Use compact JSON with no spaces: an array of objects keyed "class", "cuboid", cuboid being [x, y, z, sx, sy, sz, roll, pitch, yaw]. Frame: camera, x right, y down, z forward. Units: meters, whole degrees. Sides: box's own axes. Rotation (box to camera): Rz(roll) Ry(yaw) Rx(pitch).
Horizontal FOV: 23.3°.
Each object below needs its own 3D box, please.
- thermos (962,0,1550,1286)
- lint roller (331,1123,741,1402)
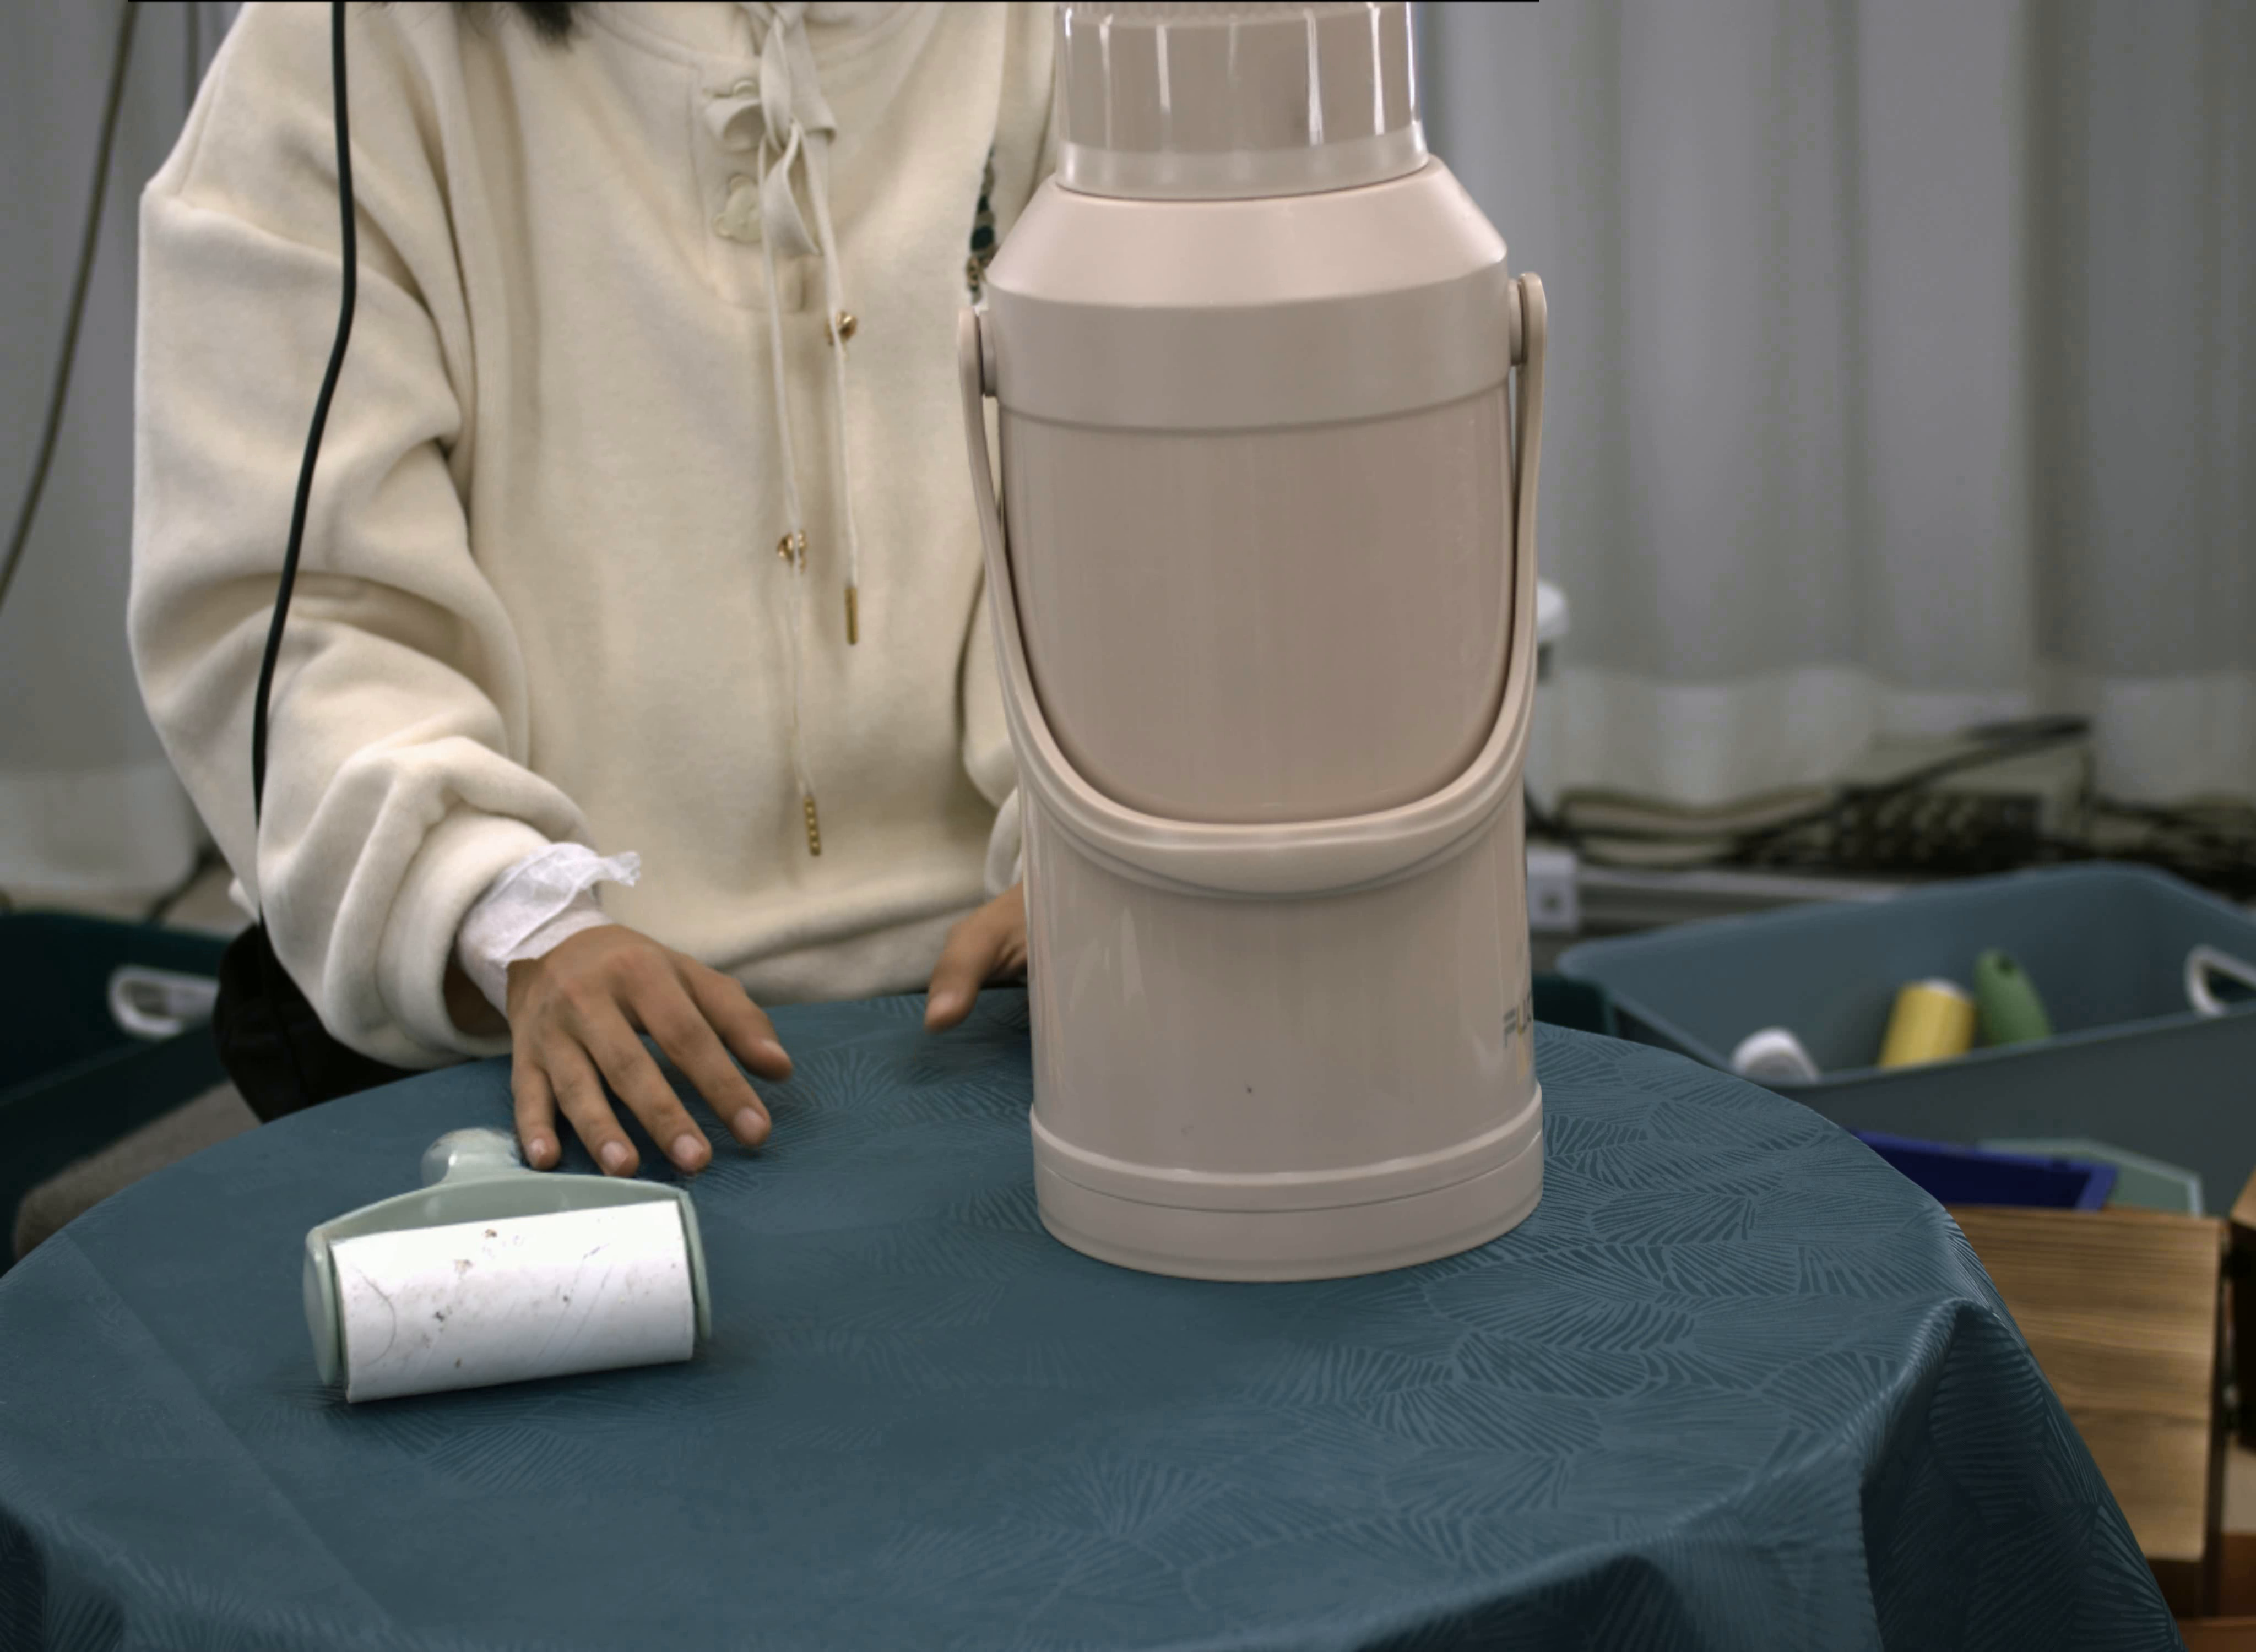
[{"class":"thermos","cuboid":[0.041,-0.078,1.667,0.175,0.405,0.208,-4,13,-2]},{"class":"lint roller","cuboid":[-0.185,0.118,1.647,0.116,0.048,0.199,-8,16,-10]}]
